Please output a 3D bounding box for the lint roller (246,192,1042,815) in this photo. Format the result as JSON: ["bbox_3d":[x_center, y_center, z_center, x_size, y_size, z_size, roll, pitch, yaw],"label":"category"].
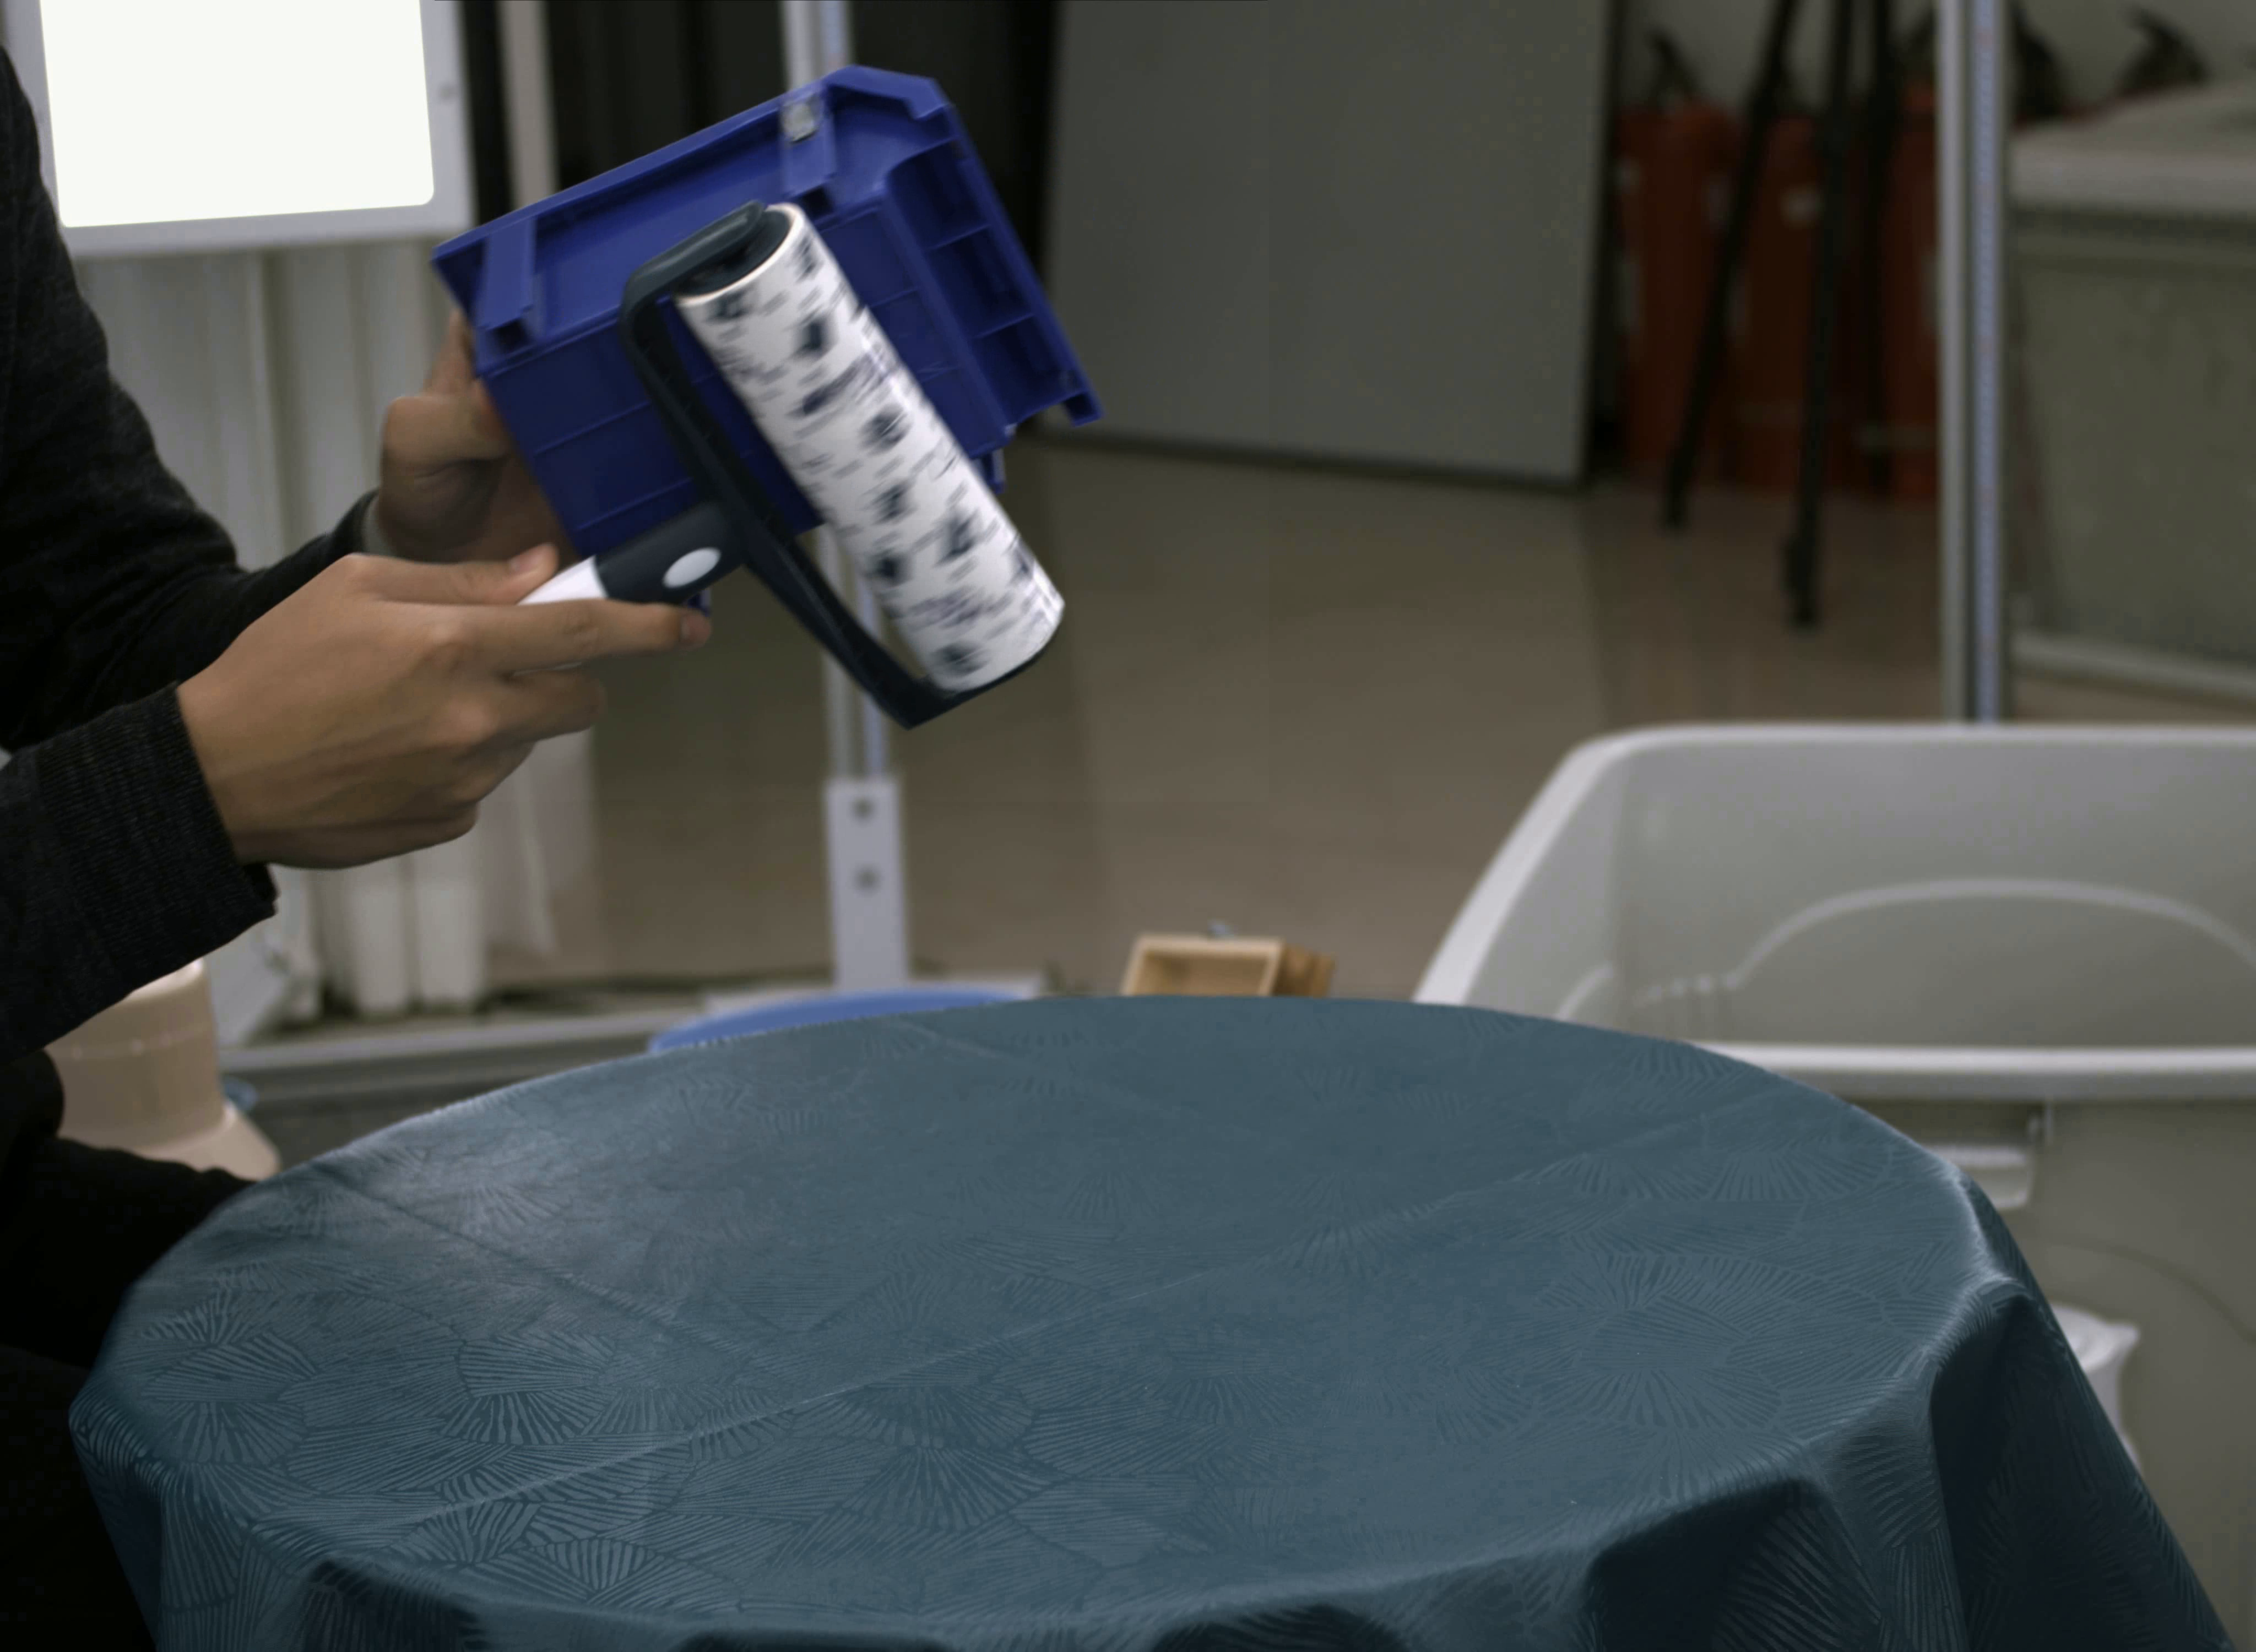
[{"bbox_3d":[-0.168,-0.065,1.679,0.246,0.175,0.051,-31,28,10],"label":"lint roller"}]

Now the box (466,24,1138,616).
[{"bbox_3d":[-0.102,-0.161,1.709,0.178,0.124,0.082,-25,28,8],"label":"box"}]
